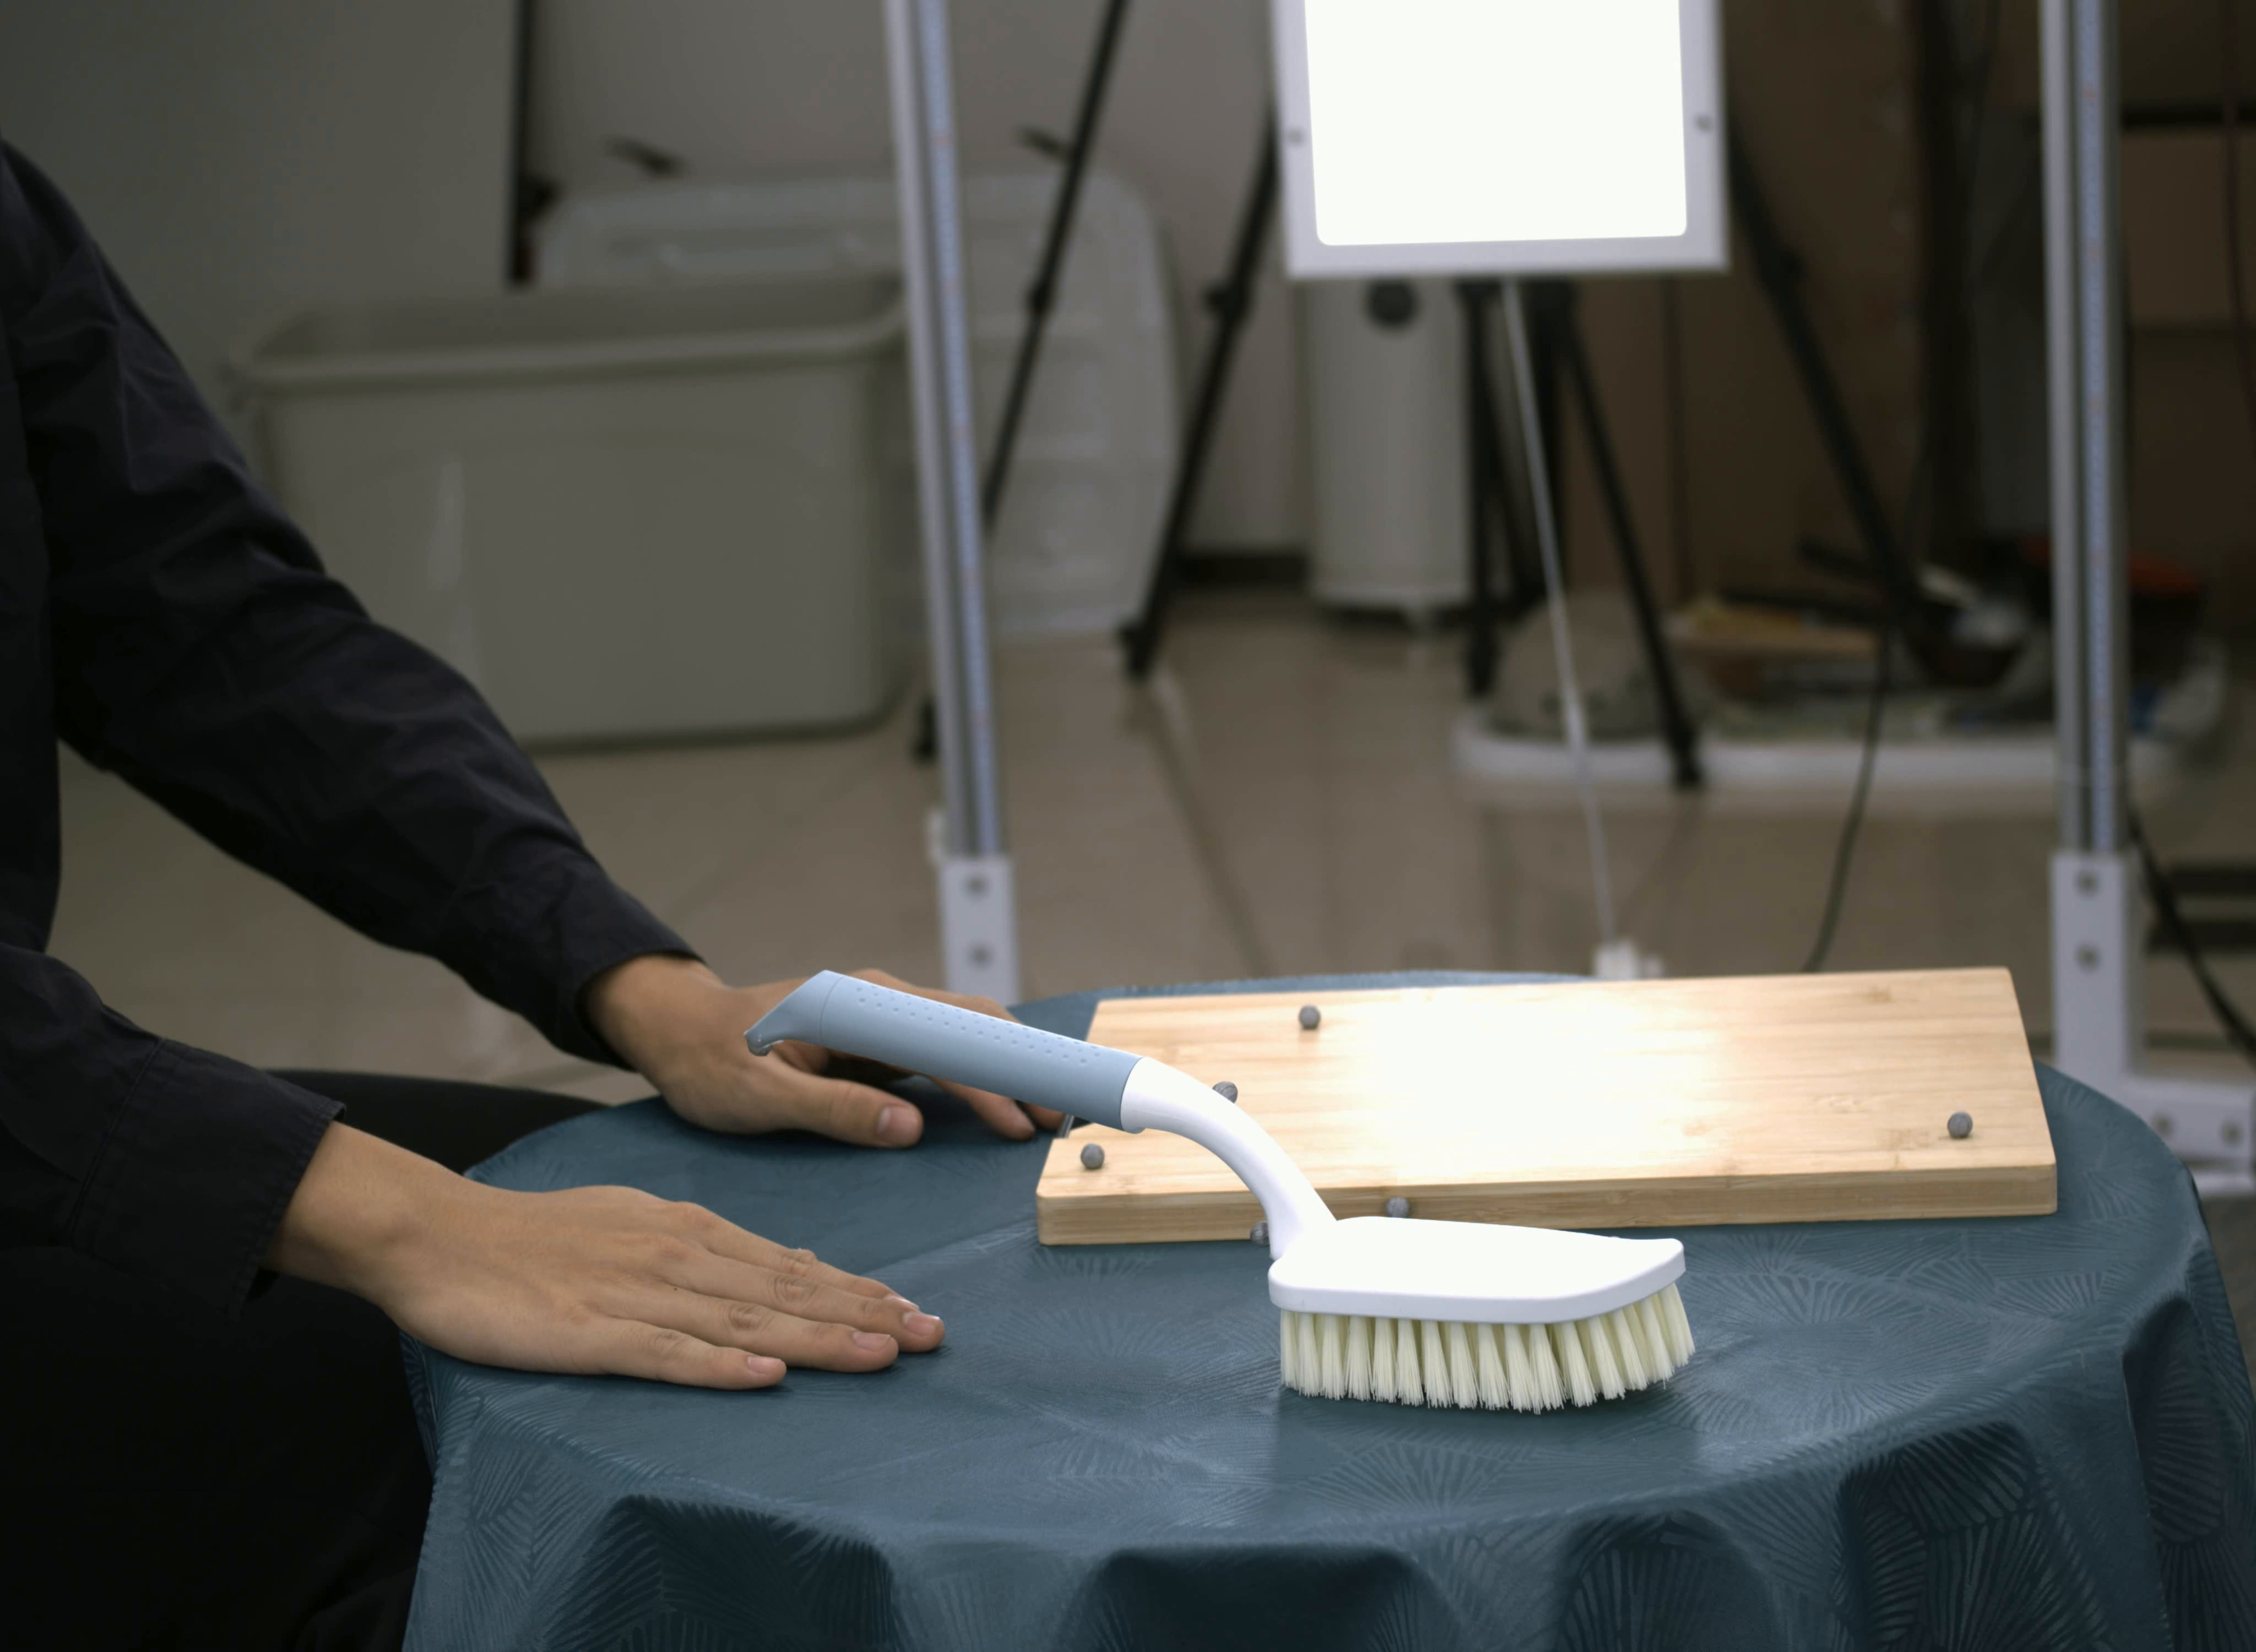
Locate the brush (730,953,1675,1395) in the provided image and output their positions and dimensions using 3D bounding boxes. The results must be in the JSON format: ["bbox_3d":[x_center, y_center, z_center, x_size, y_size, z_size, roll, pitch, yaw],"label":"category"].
[{"bbox_3d":[0.018,0.123,1.728,0.330,0.084,0.082,15,-17,23],"label":"brush"}]

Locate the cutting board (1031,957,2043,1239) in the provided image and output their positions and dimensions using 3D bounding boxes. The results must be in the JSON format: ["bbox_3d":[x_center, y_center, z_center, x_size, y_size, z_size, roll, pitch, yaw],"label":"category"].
[{"bbox_3d":[0.148,0.094,1.935,0.349,0.023,0.249,-3,13,6],"label":"cutting board"}]
